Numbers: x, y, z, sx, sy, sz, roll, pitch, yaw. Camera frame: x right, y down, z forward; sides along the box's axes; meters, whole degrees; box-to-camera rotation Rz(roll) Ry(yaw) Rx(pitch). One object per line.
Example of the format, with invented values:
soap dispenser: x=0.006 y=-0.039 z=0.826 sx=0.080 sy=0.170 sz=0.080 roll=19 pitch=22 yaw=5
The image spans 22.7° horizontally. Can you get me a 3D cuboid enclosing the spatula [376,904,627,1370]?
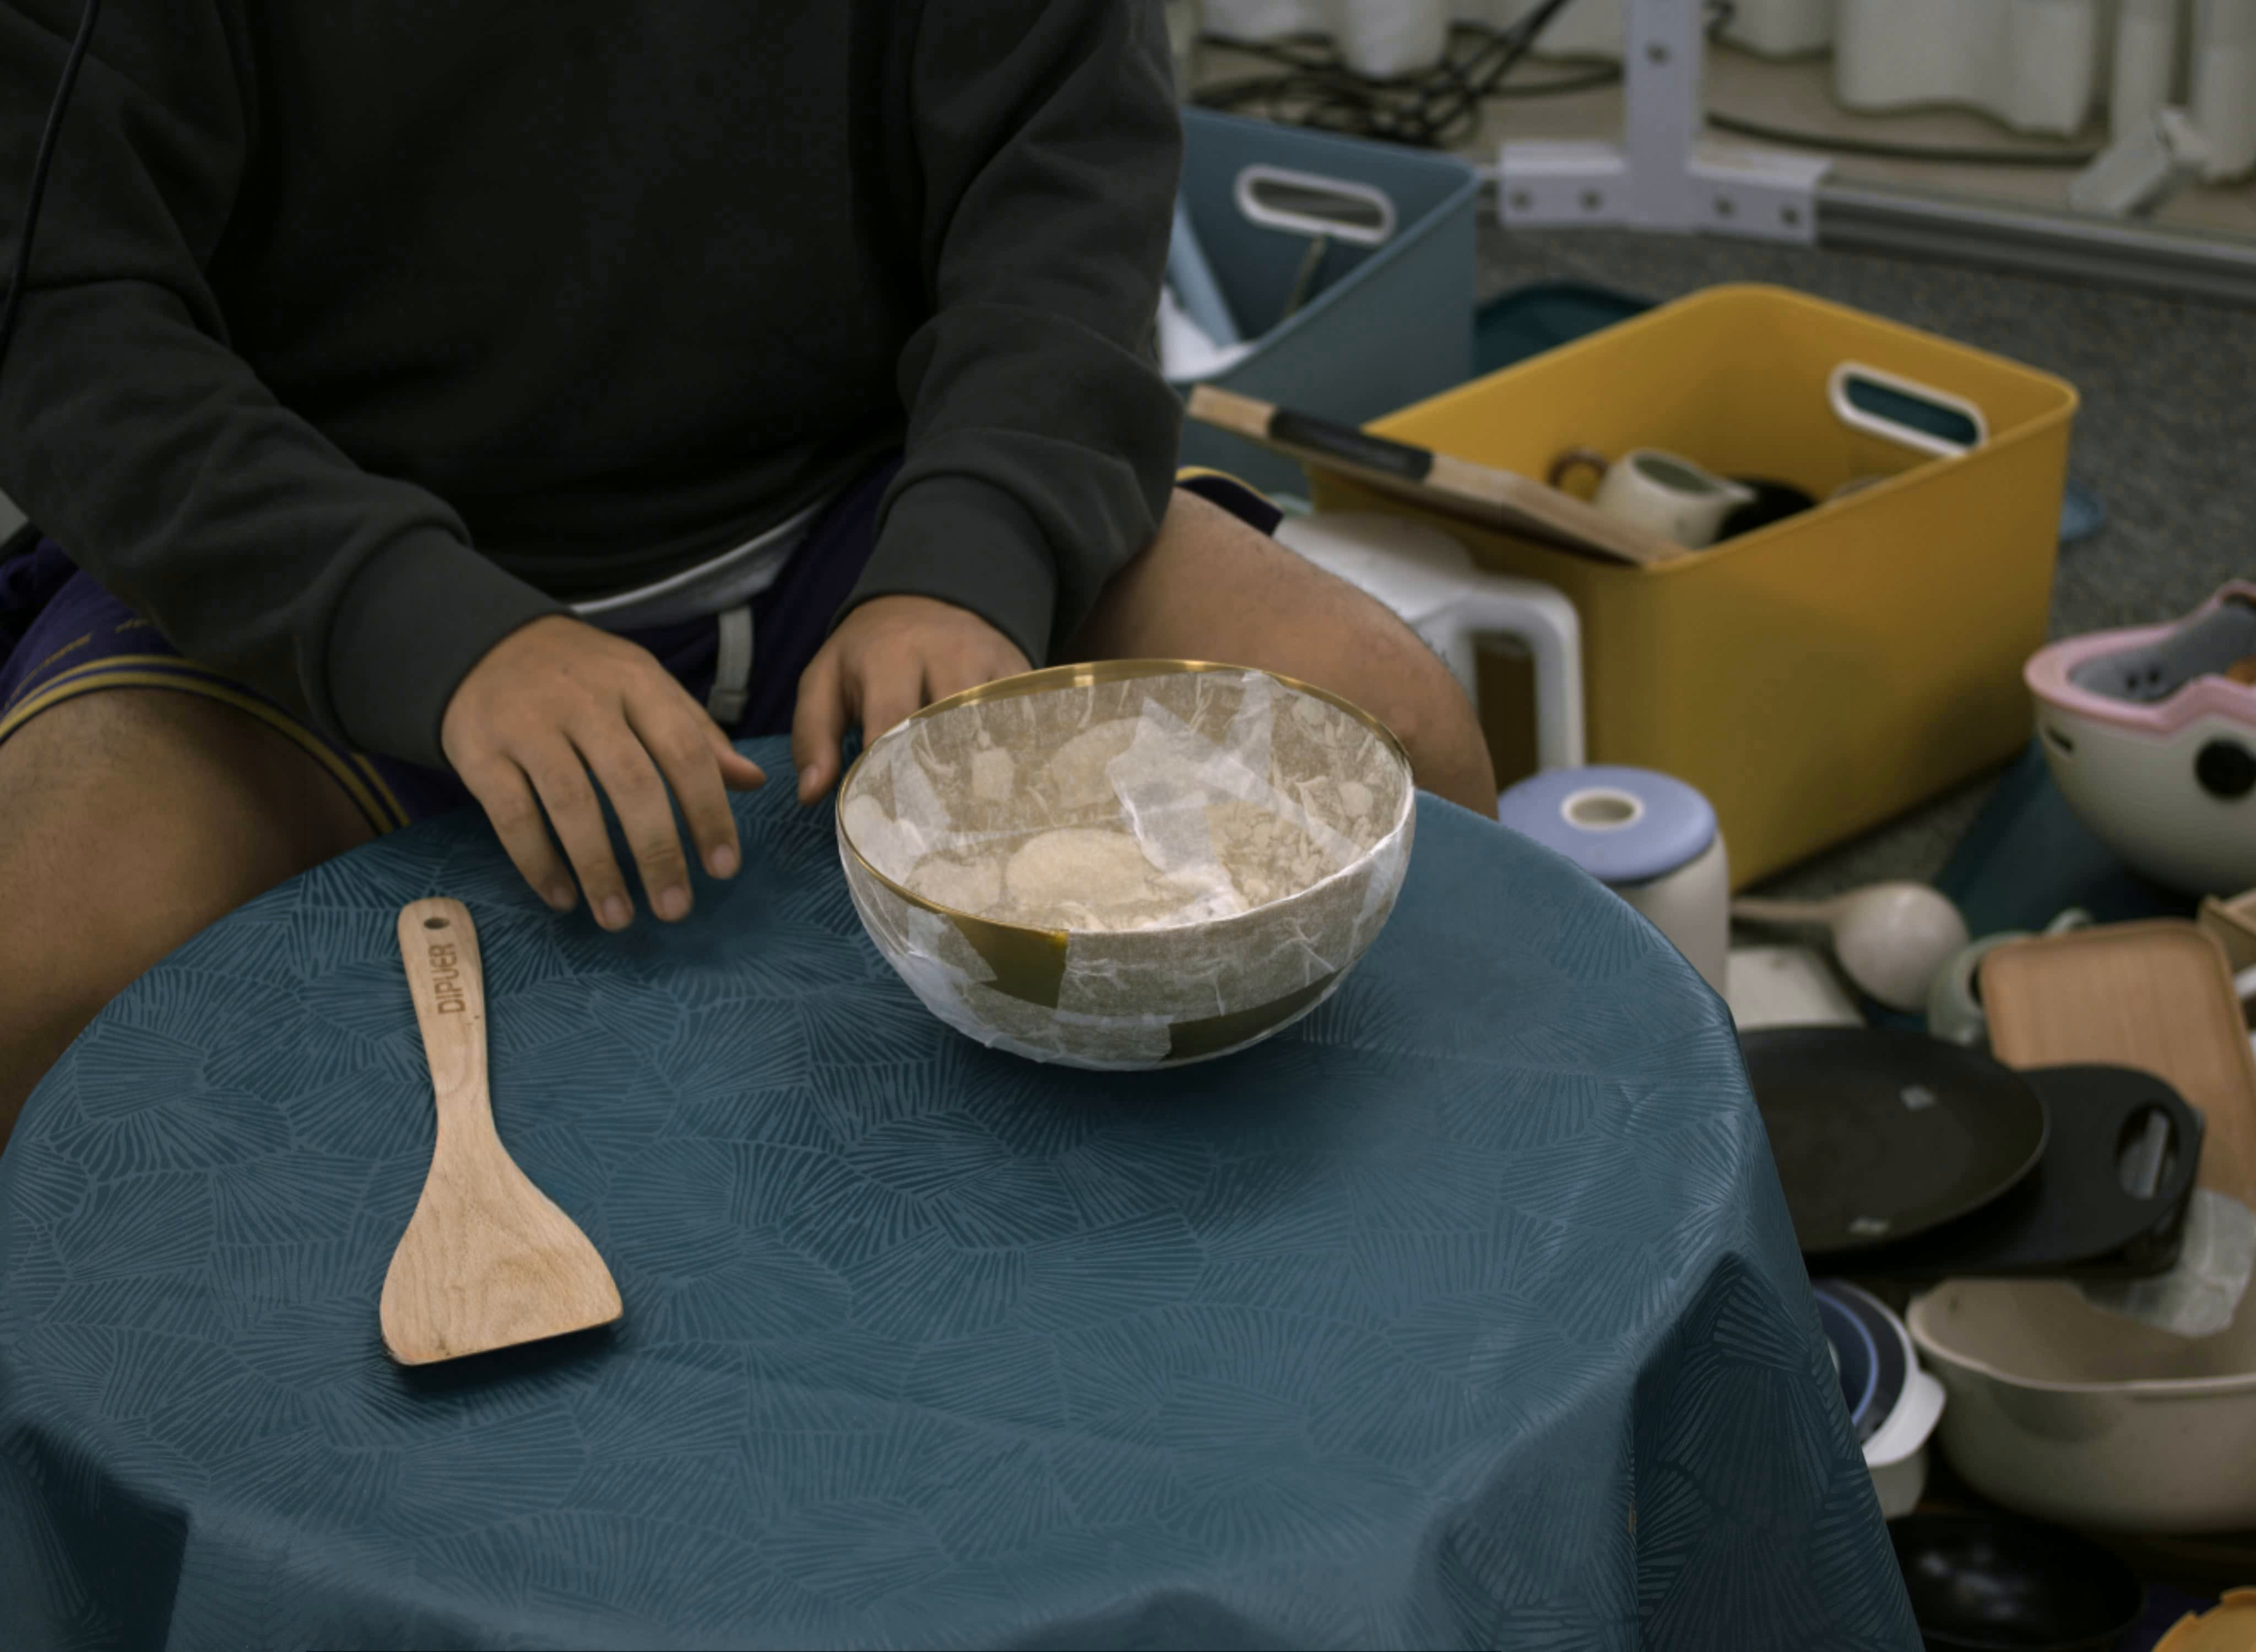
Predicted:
spatula: x=-0.224 y=0.100 z=1.910 sx=0.080 sy=0.016 sz=0.331 roll=-8 pitch=27 yaw=-8

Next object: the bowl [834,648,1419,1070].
bowl: x=0.000 y=0.022 z=1.950 sx=0.213 sy=0.093 sz=0.218 roll=-2 pitch=28 yaw=2
